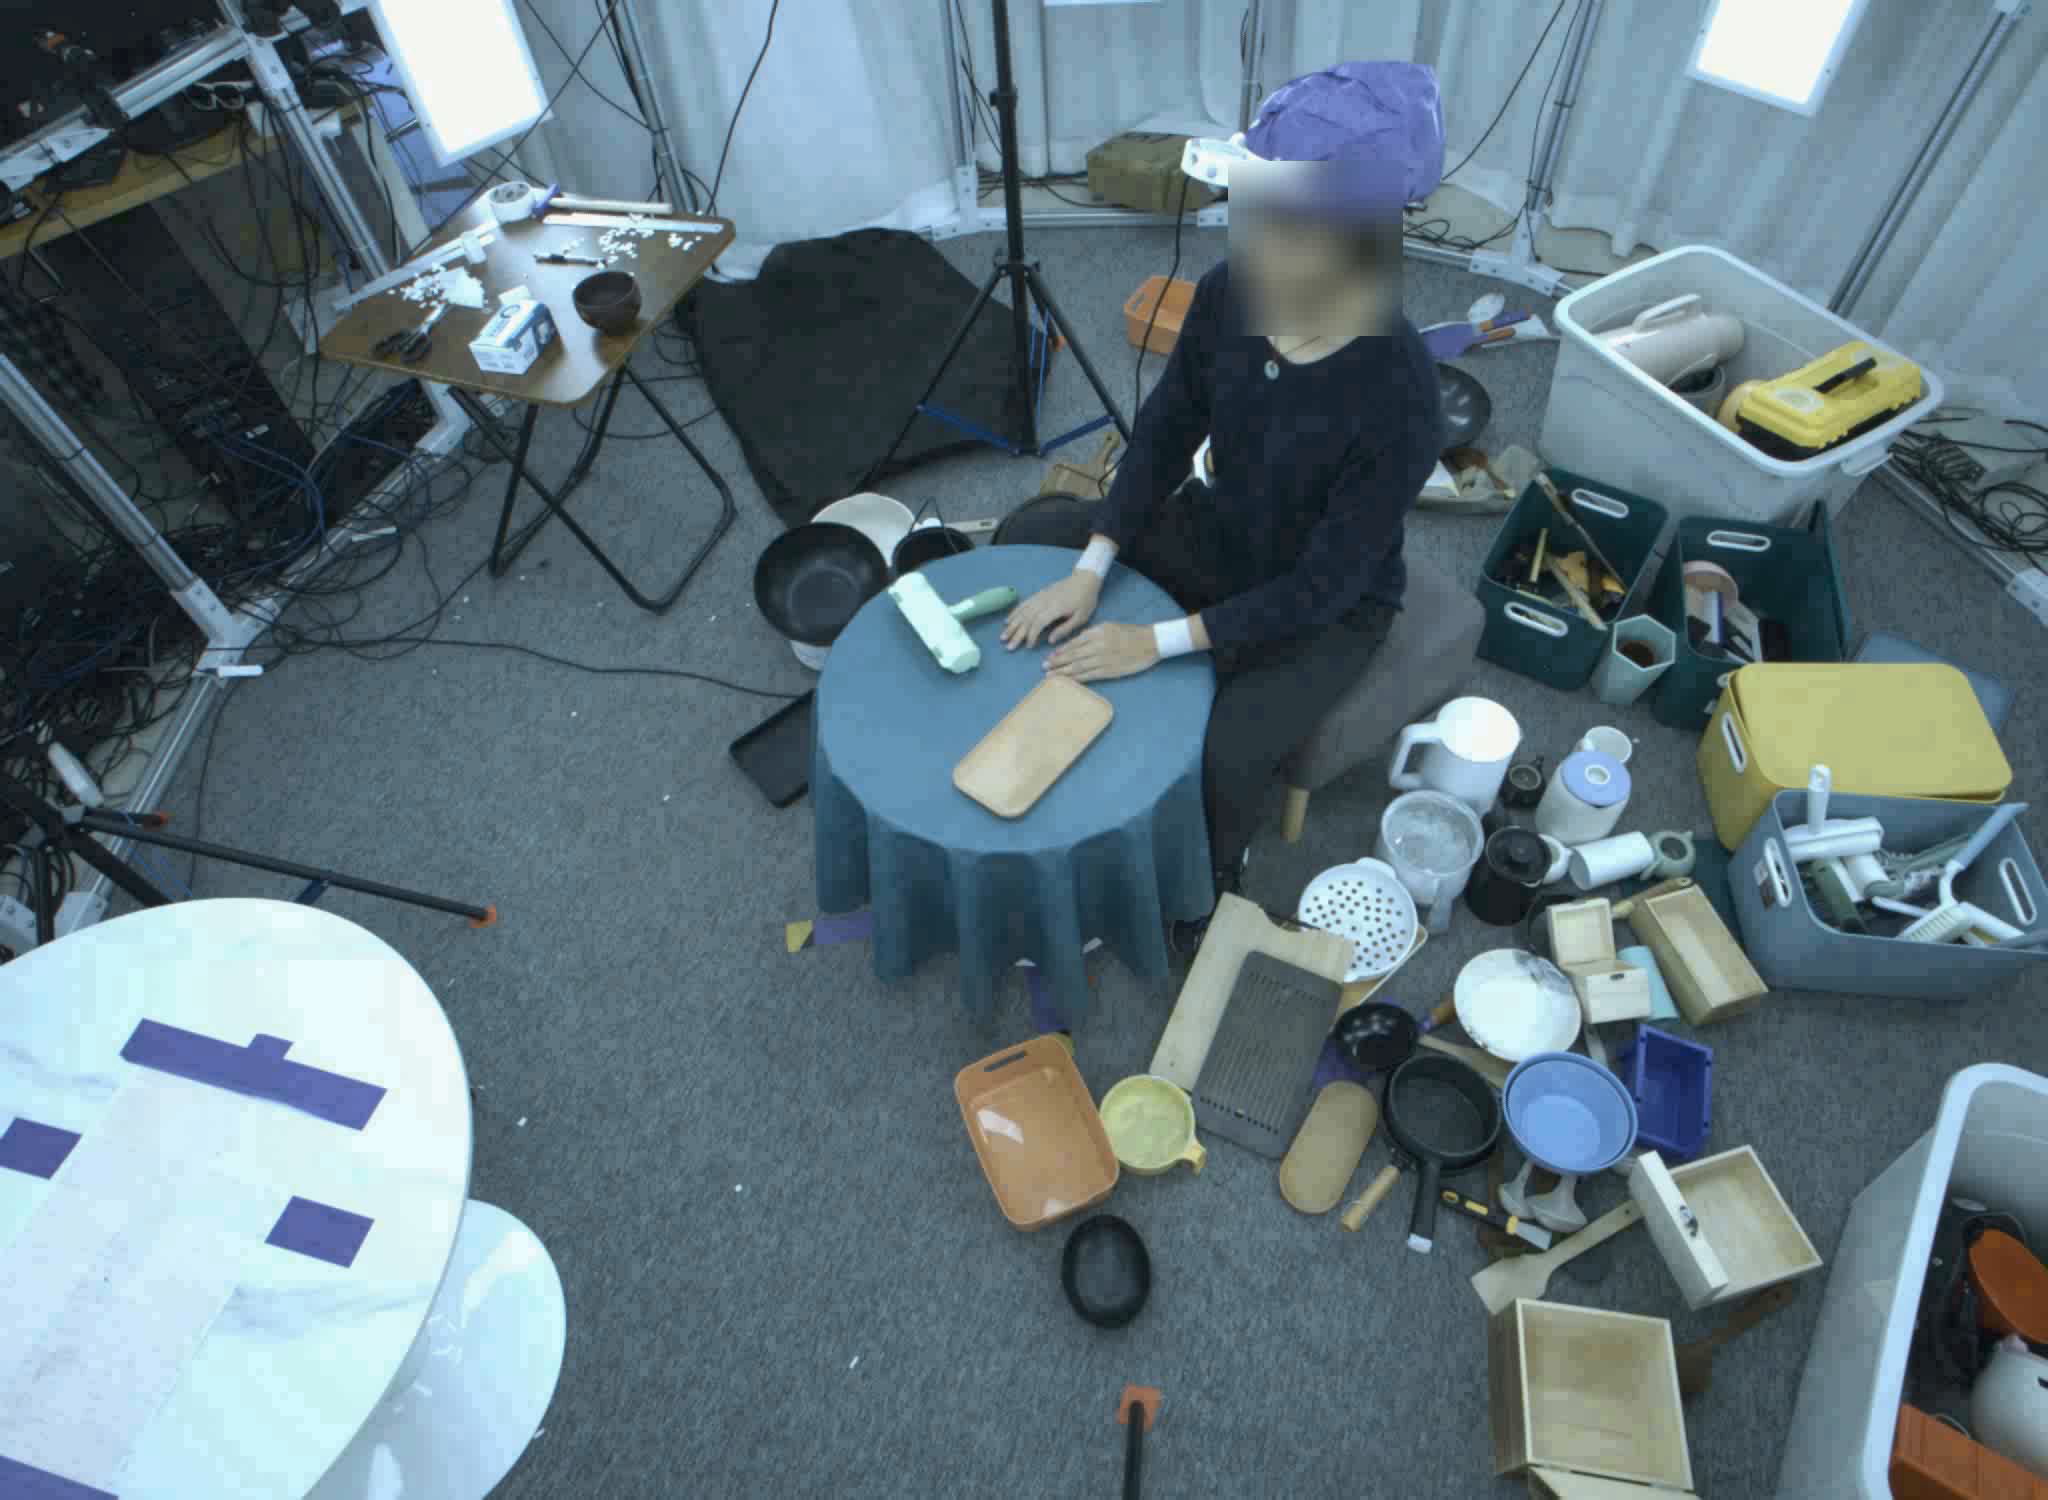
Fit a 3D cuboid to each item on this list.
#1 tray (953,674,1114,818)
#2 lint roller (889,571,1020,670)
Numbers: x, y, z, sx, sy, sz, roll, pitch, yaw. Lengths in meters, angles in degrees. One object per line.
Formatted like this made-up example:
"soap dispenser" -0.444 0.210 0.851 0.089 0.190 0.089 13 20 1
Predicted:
"tray" 0.015 -0.009 1.783 0.128 0.023 0.252 34 62 21
"lint roller" -0.091 -0.233 1.901 0.184 0.083 0.195 -31 60 -11
